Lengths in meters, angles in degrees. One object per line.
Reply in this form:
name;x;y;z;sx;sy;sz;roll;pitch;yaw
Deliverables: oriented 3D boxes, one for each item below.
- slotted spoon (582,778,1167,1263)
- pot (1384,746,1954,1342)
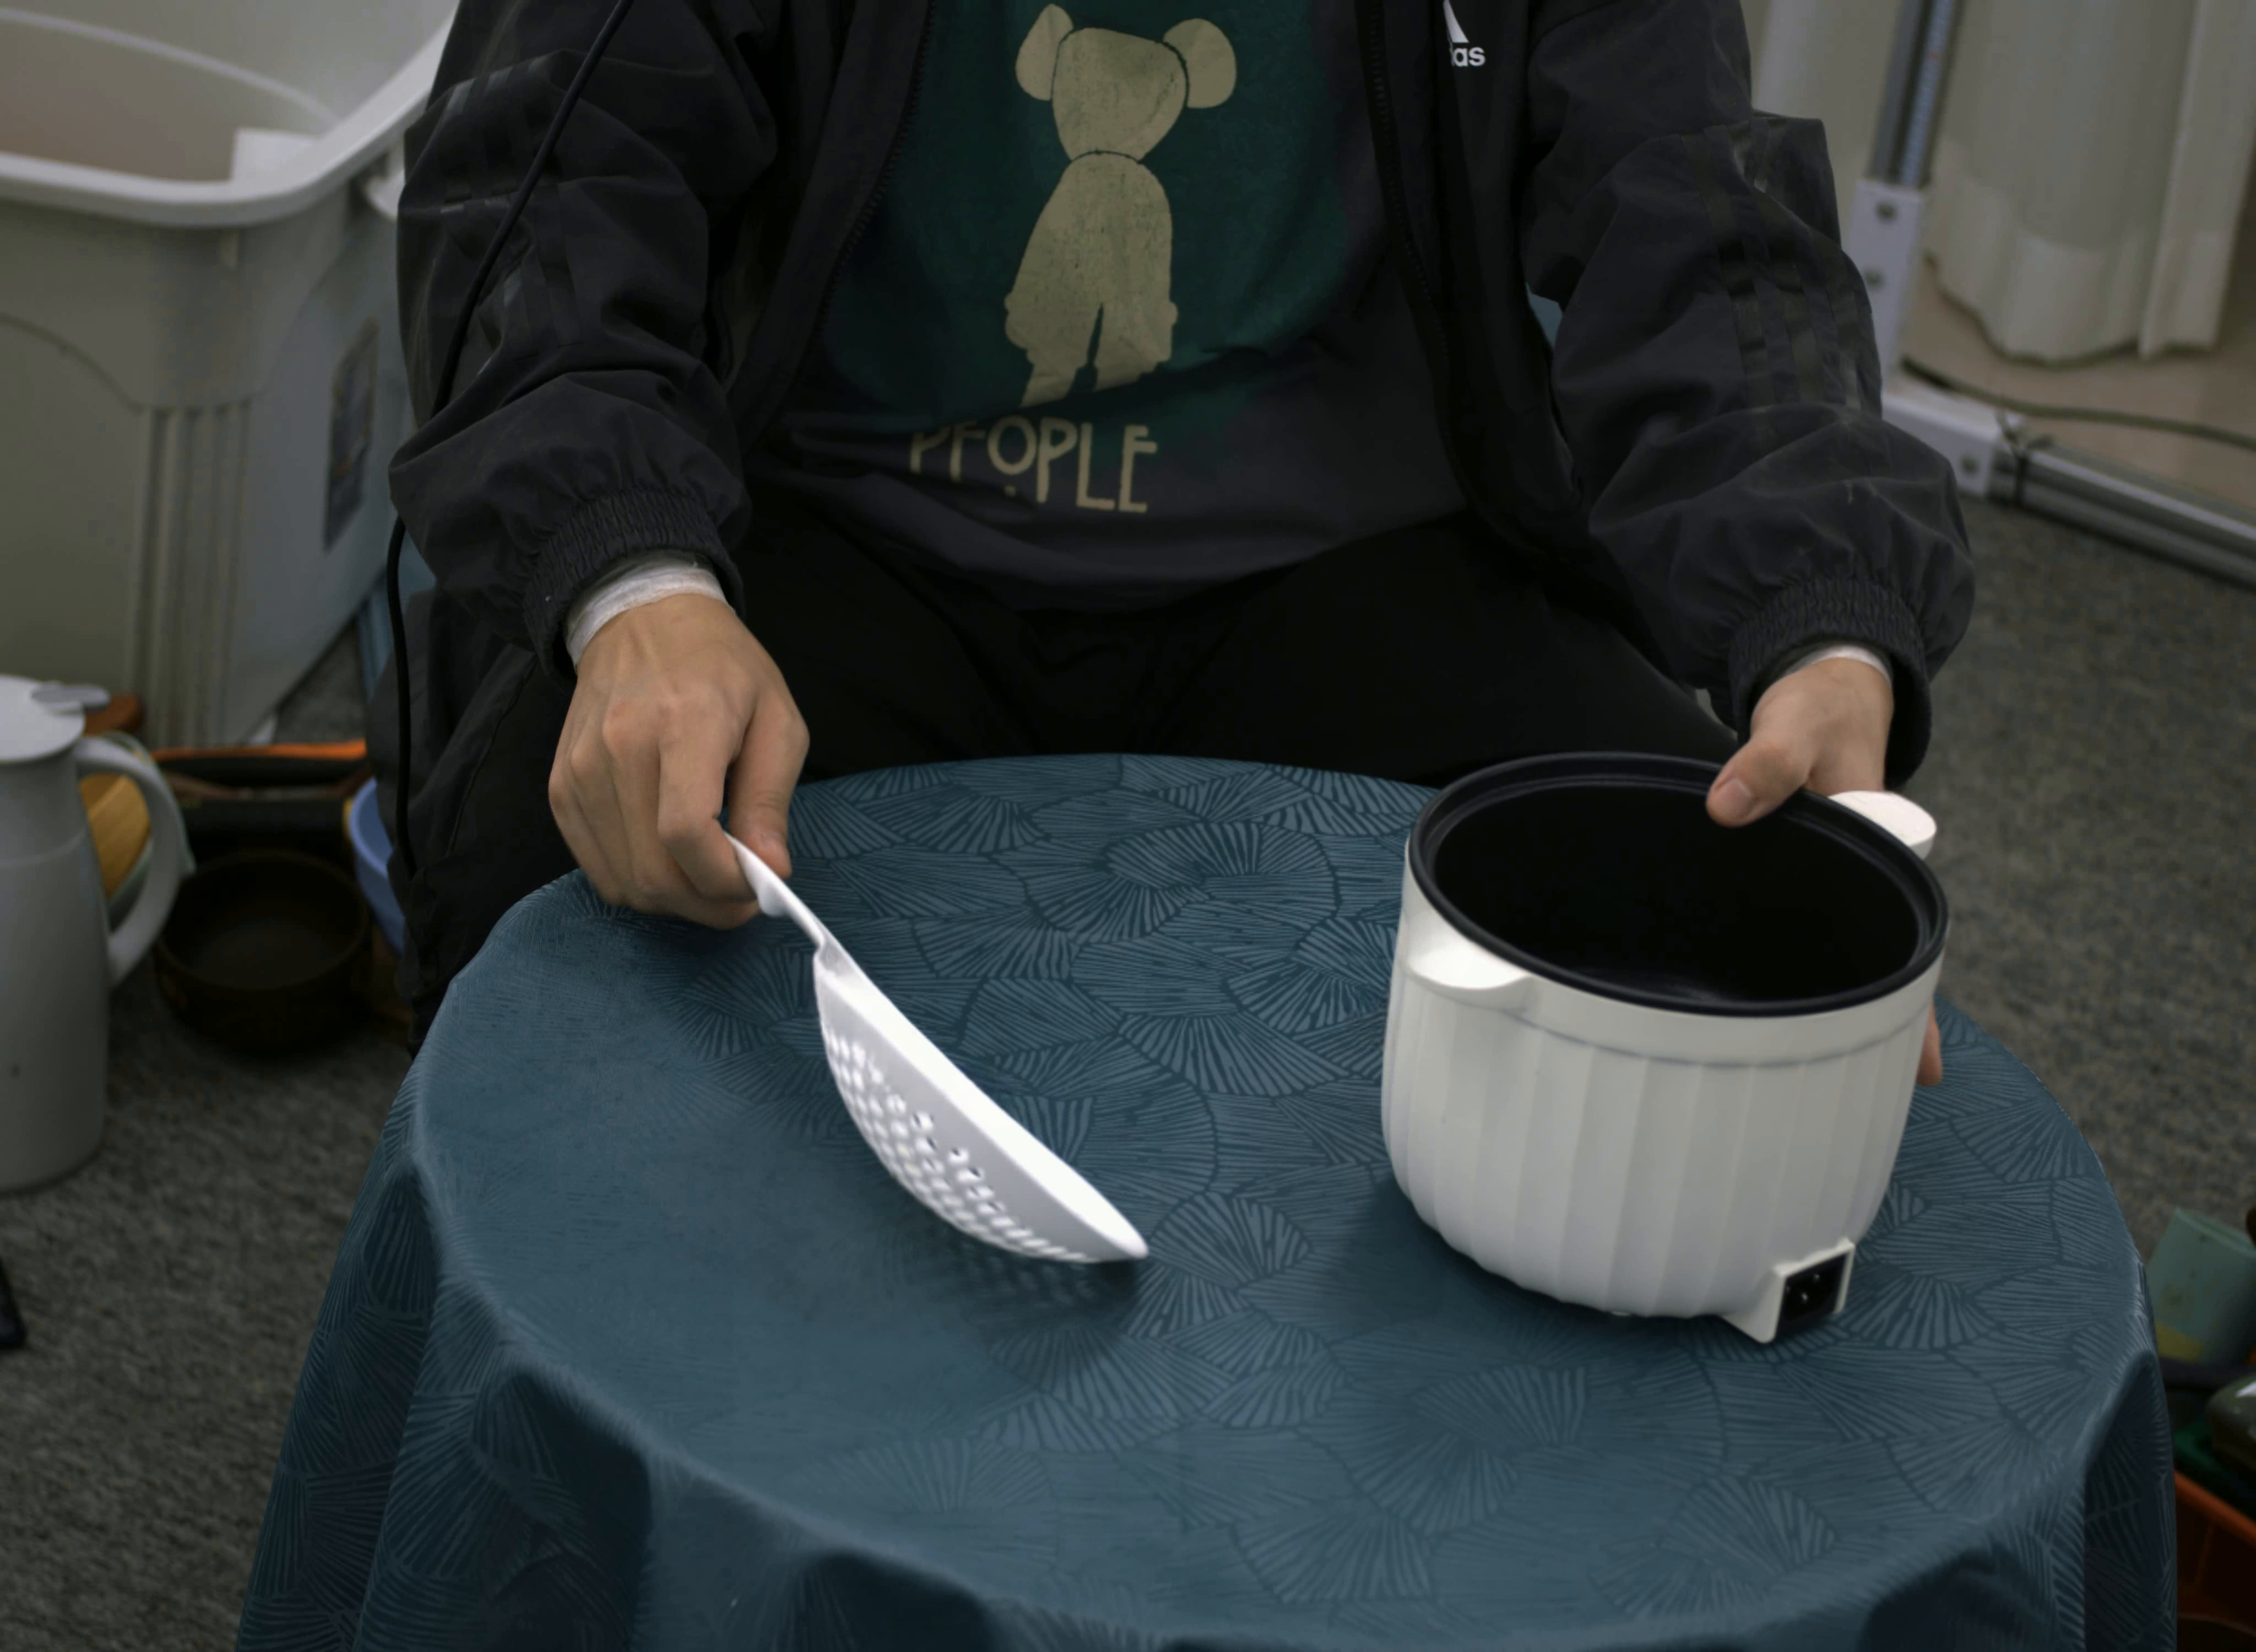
slotted spoon;-0.103;0.056;1.831;0.135;0.050;0.351;36;8;-39
pot;0.171;0.072;1.792;0.239;0.142;0.192;-16;37;-39
